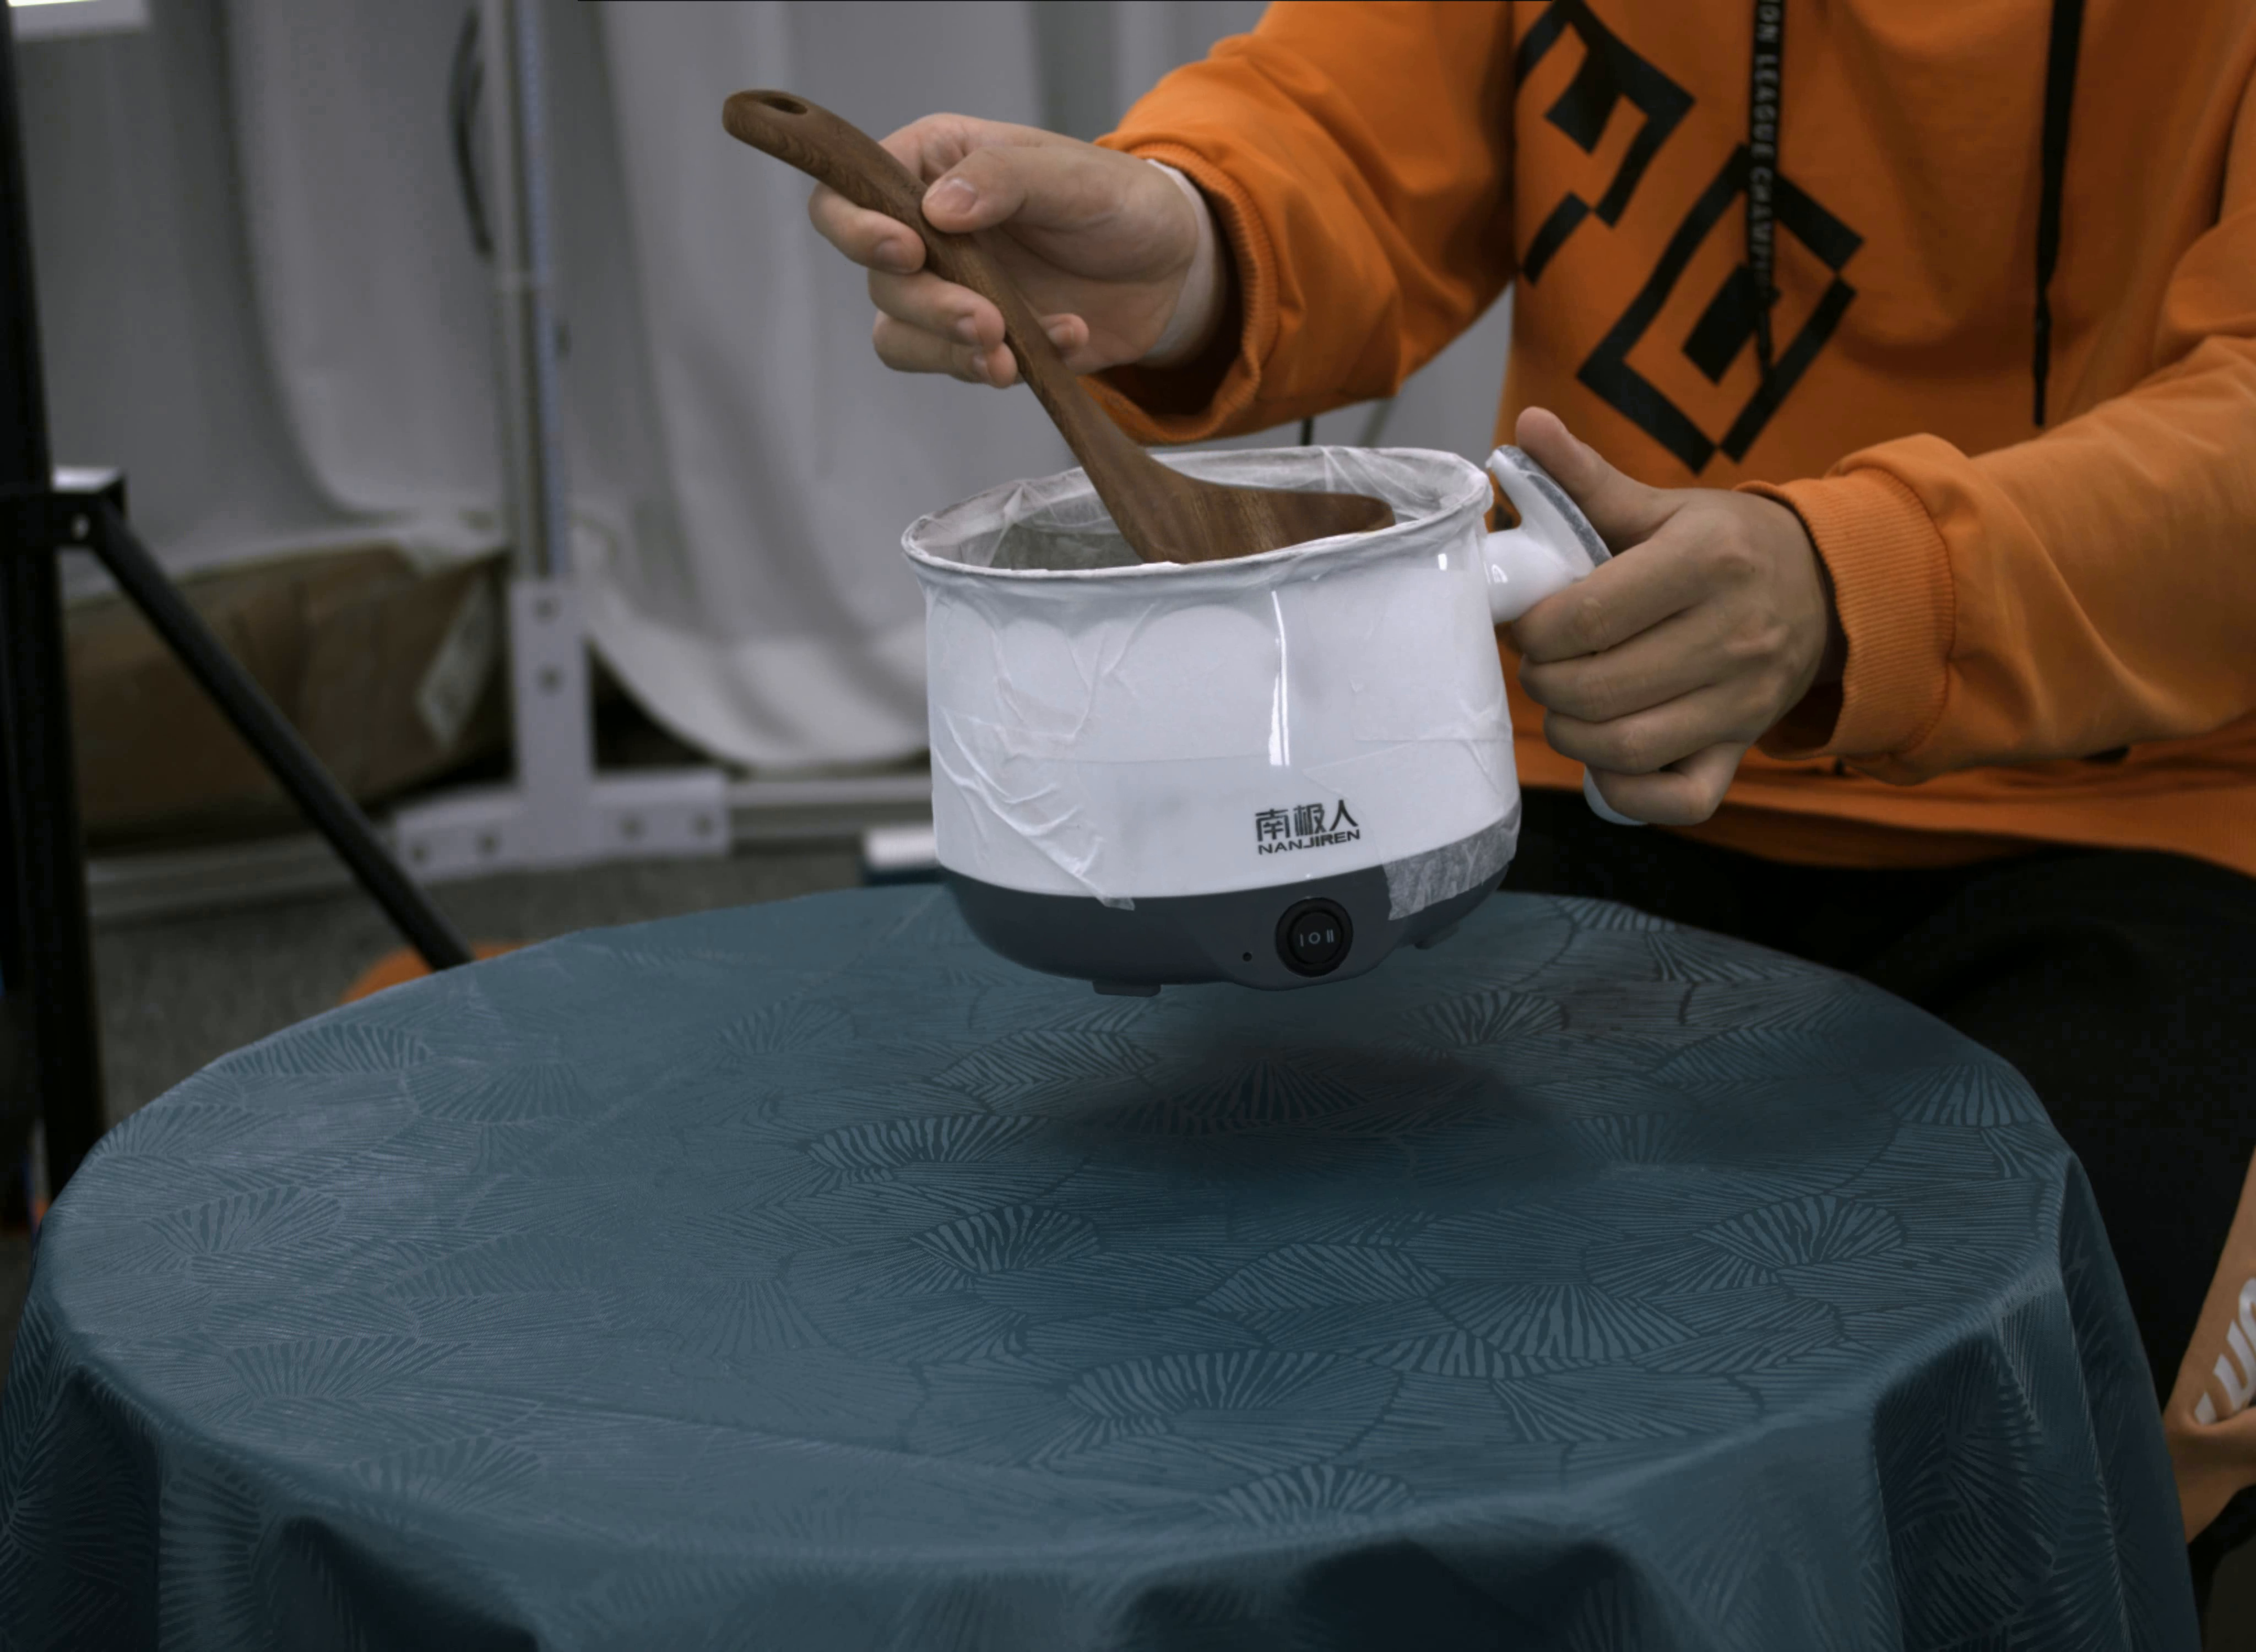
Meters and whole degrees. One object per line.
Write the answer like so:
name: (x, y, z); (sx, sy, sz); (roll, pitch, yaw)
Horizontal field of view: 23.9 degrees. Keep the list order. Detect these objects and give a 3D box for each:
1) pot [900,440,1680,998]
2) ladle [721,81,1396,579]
pot: (0.052, -0.039, 1.607); (0.230, 0.136, 0.181); (-10, 15, -13)
ladle: (-0.023, -0.151, 1.592); (0.263, 0.065, 0.075); (47, 37, 17)
